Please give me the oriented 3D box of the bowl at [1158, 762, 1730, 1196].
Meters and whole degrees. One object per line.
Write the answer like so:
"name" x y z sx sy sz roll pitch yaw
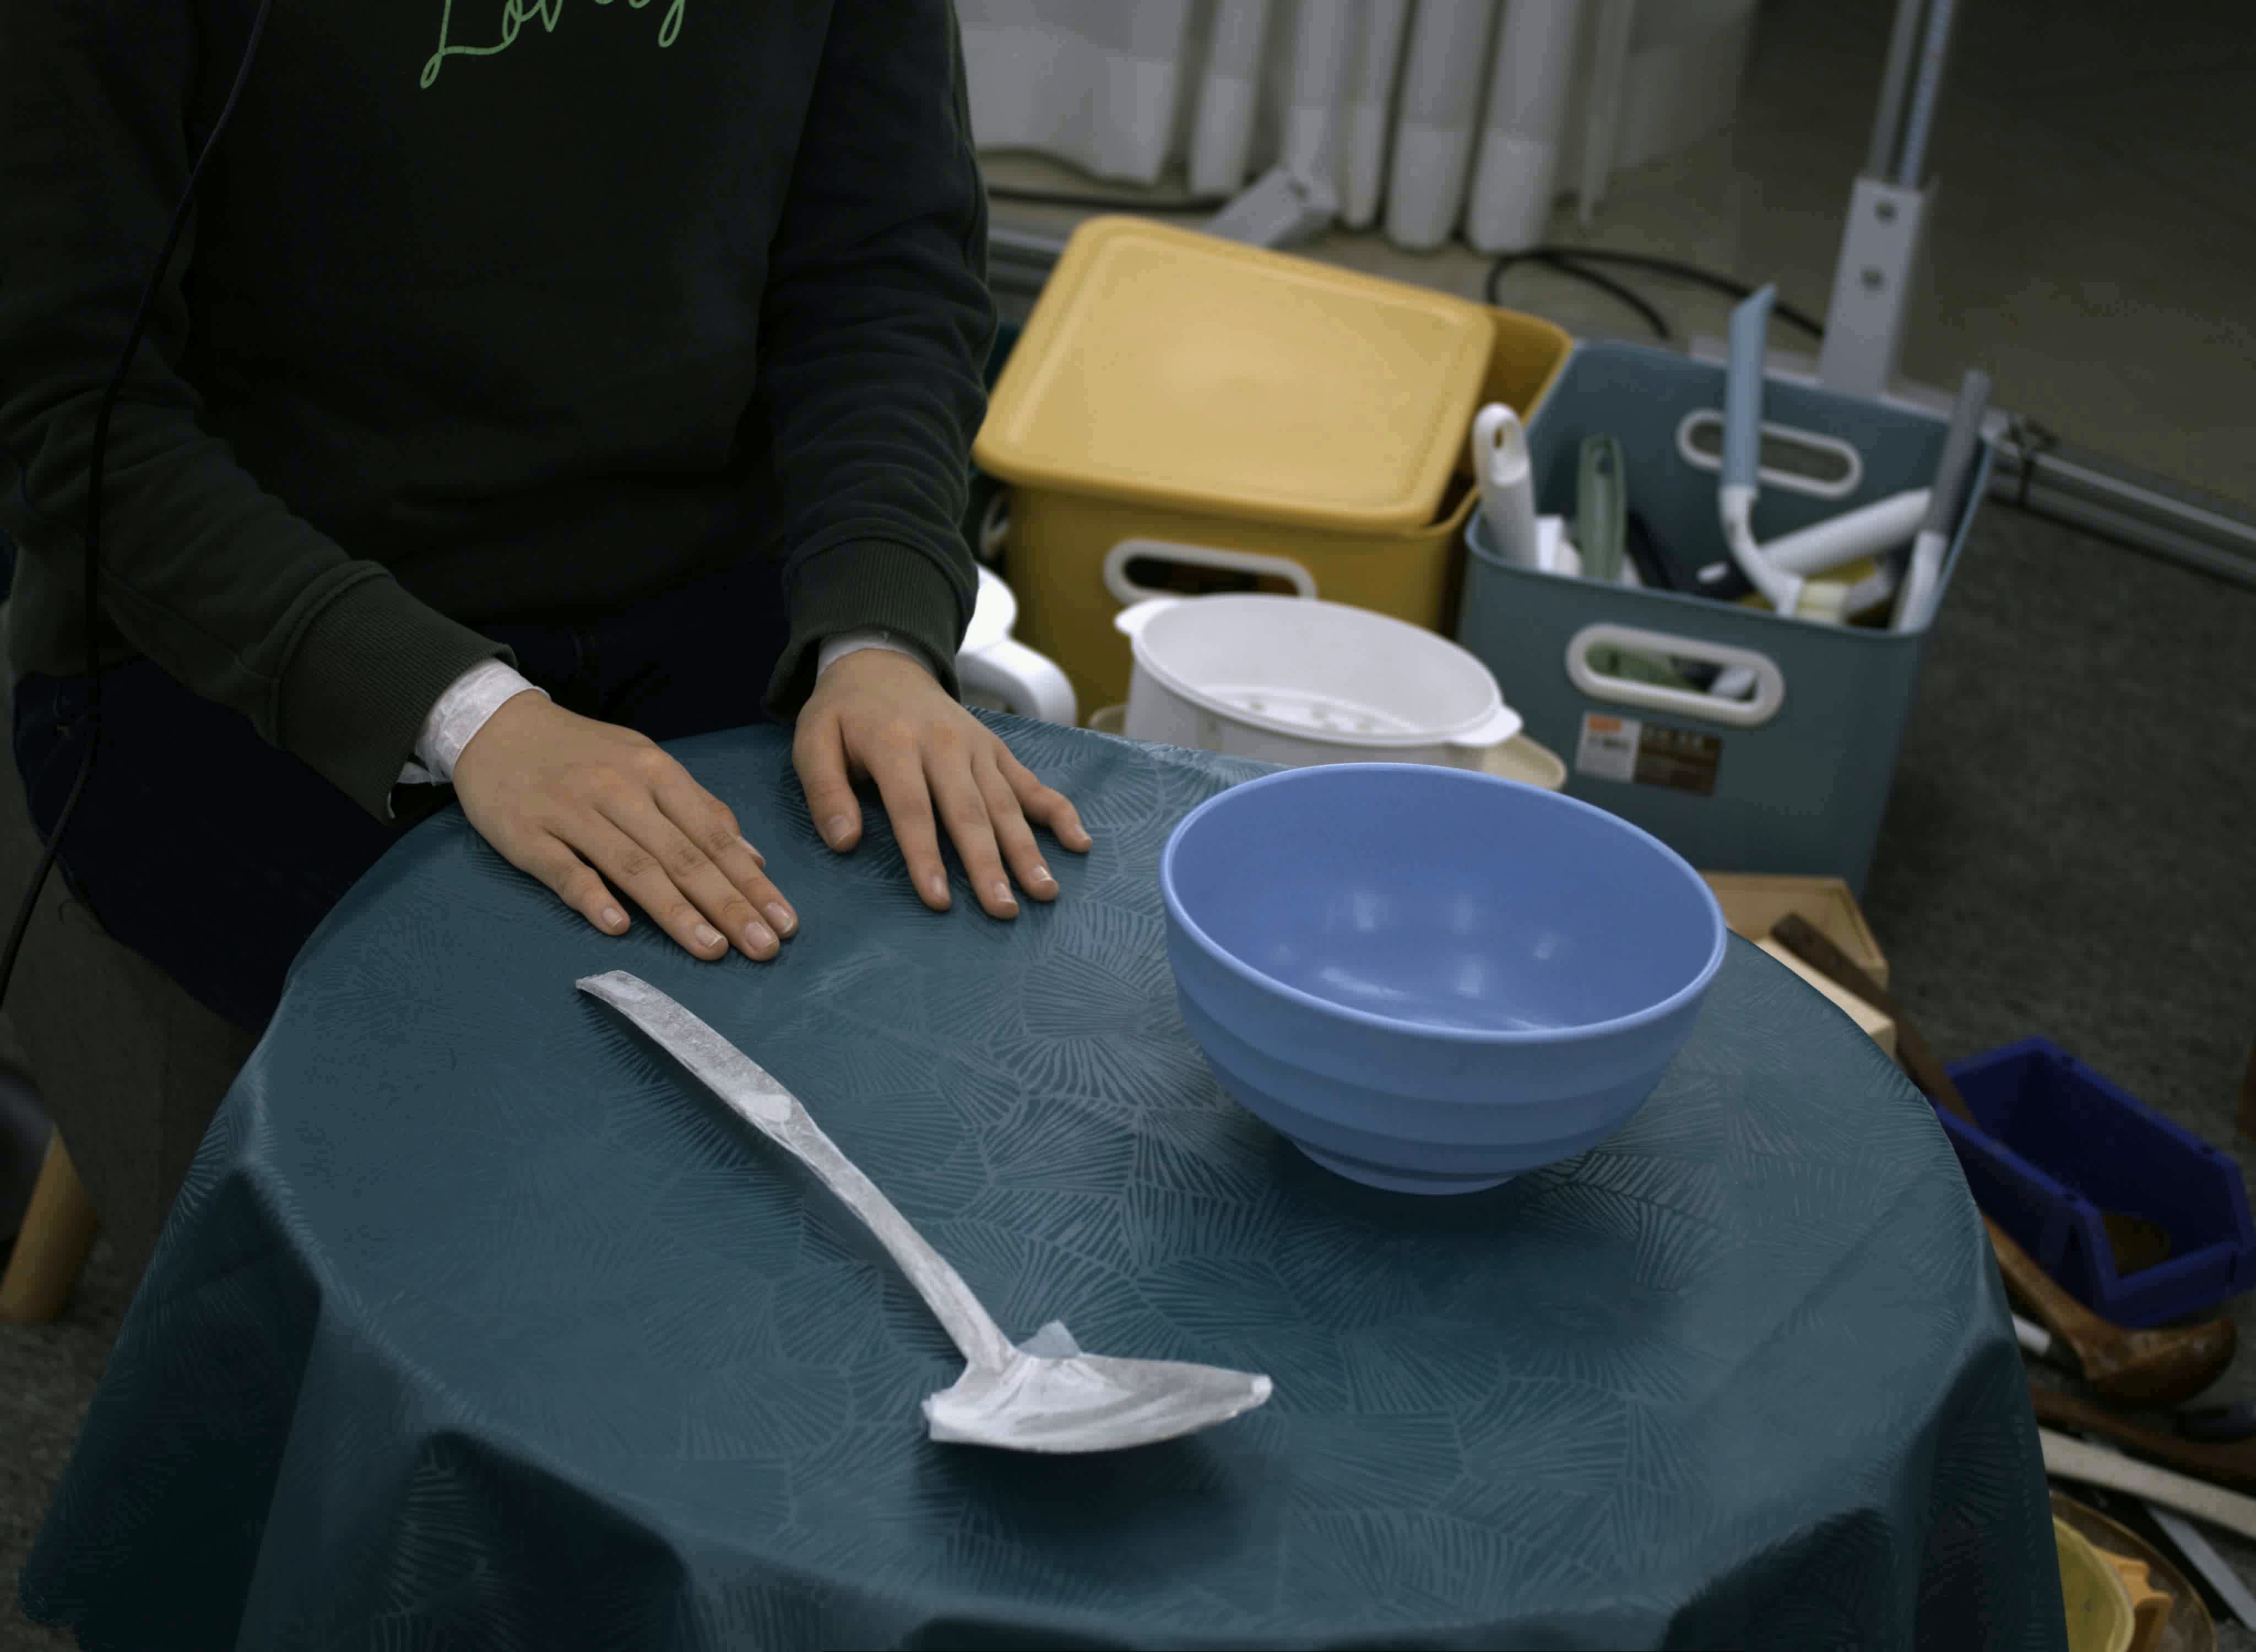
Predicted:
"bowl" 0.104 0.064 1.836 0.196 0.095 0.198 4 28 -3

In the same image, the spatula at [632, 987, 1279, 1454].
"spatula" -0.081 0.121 1.745 0.098 0.044 0.368 -12 32 -29
